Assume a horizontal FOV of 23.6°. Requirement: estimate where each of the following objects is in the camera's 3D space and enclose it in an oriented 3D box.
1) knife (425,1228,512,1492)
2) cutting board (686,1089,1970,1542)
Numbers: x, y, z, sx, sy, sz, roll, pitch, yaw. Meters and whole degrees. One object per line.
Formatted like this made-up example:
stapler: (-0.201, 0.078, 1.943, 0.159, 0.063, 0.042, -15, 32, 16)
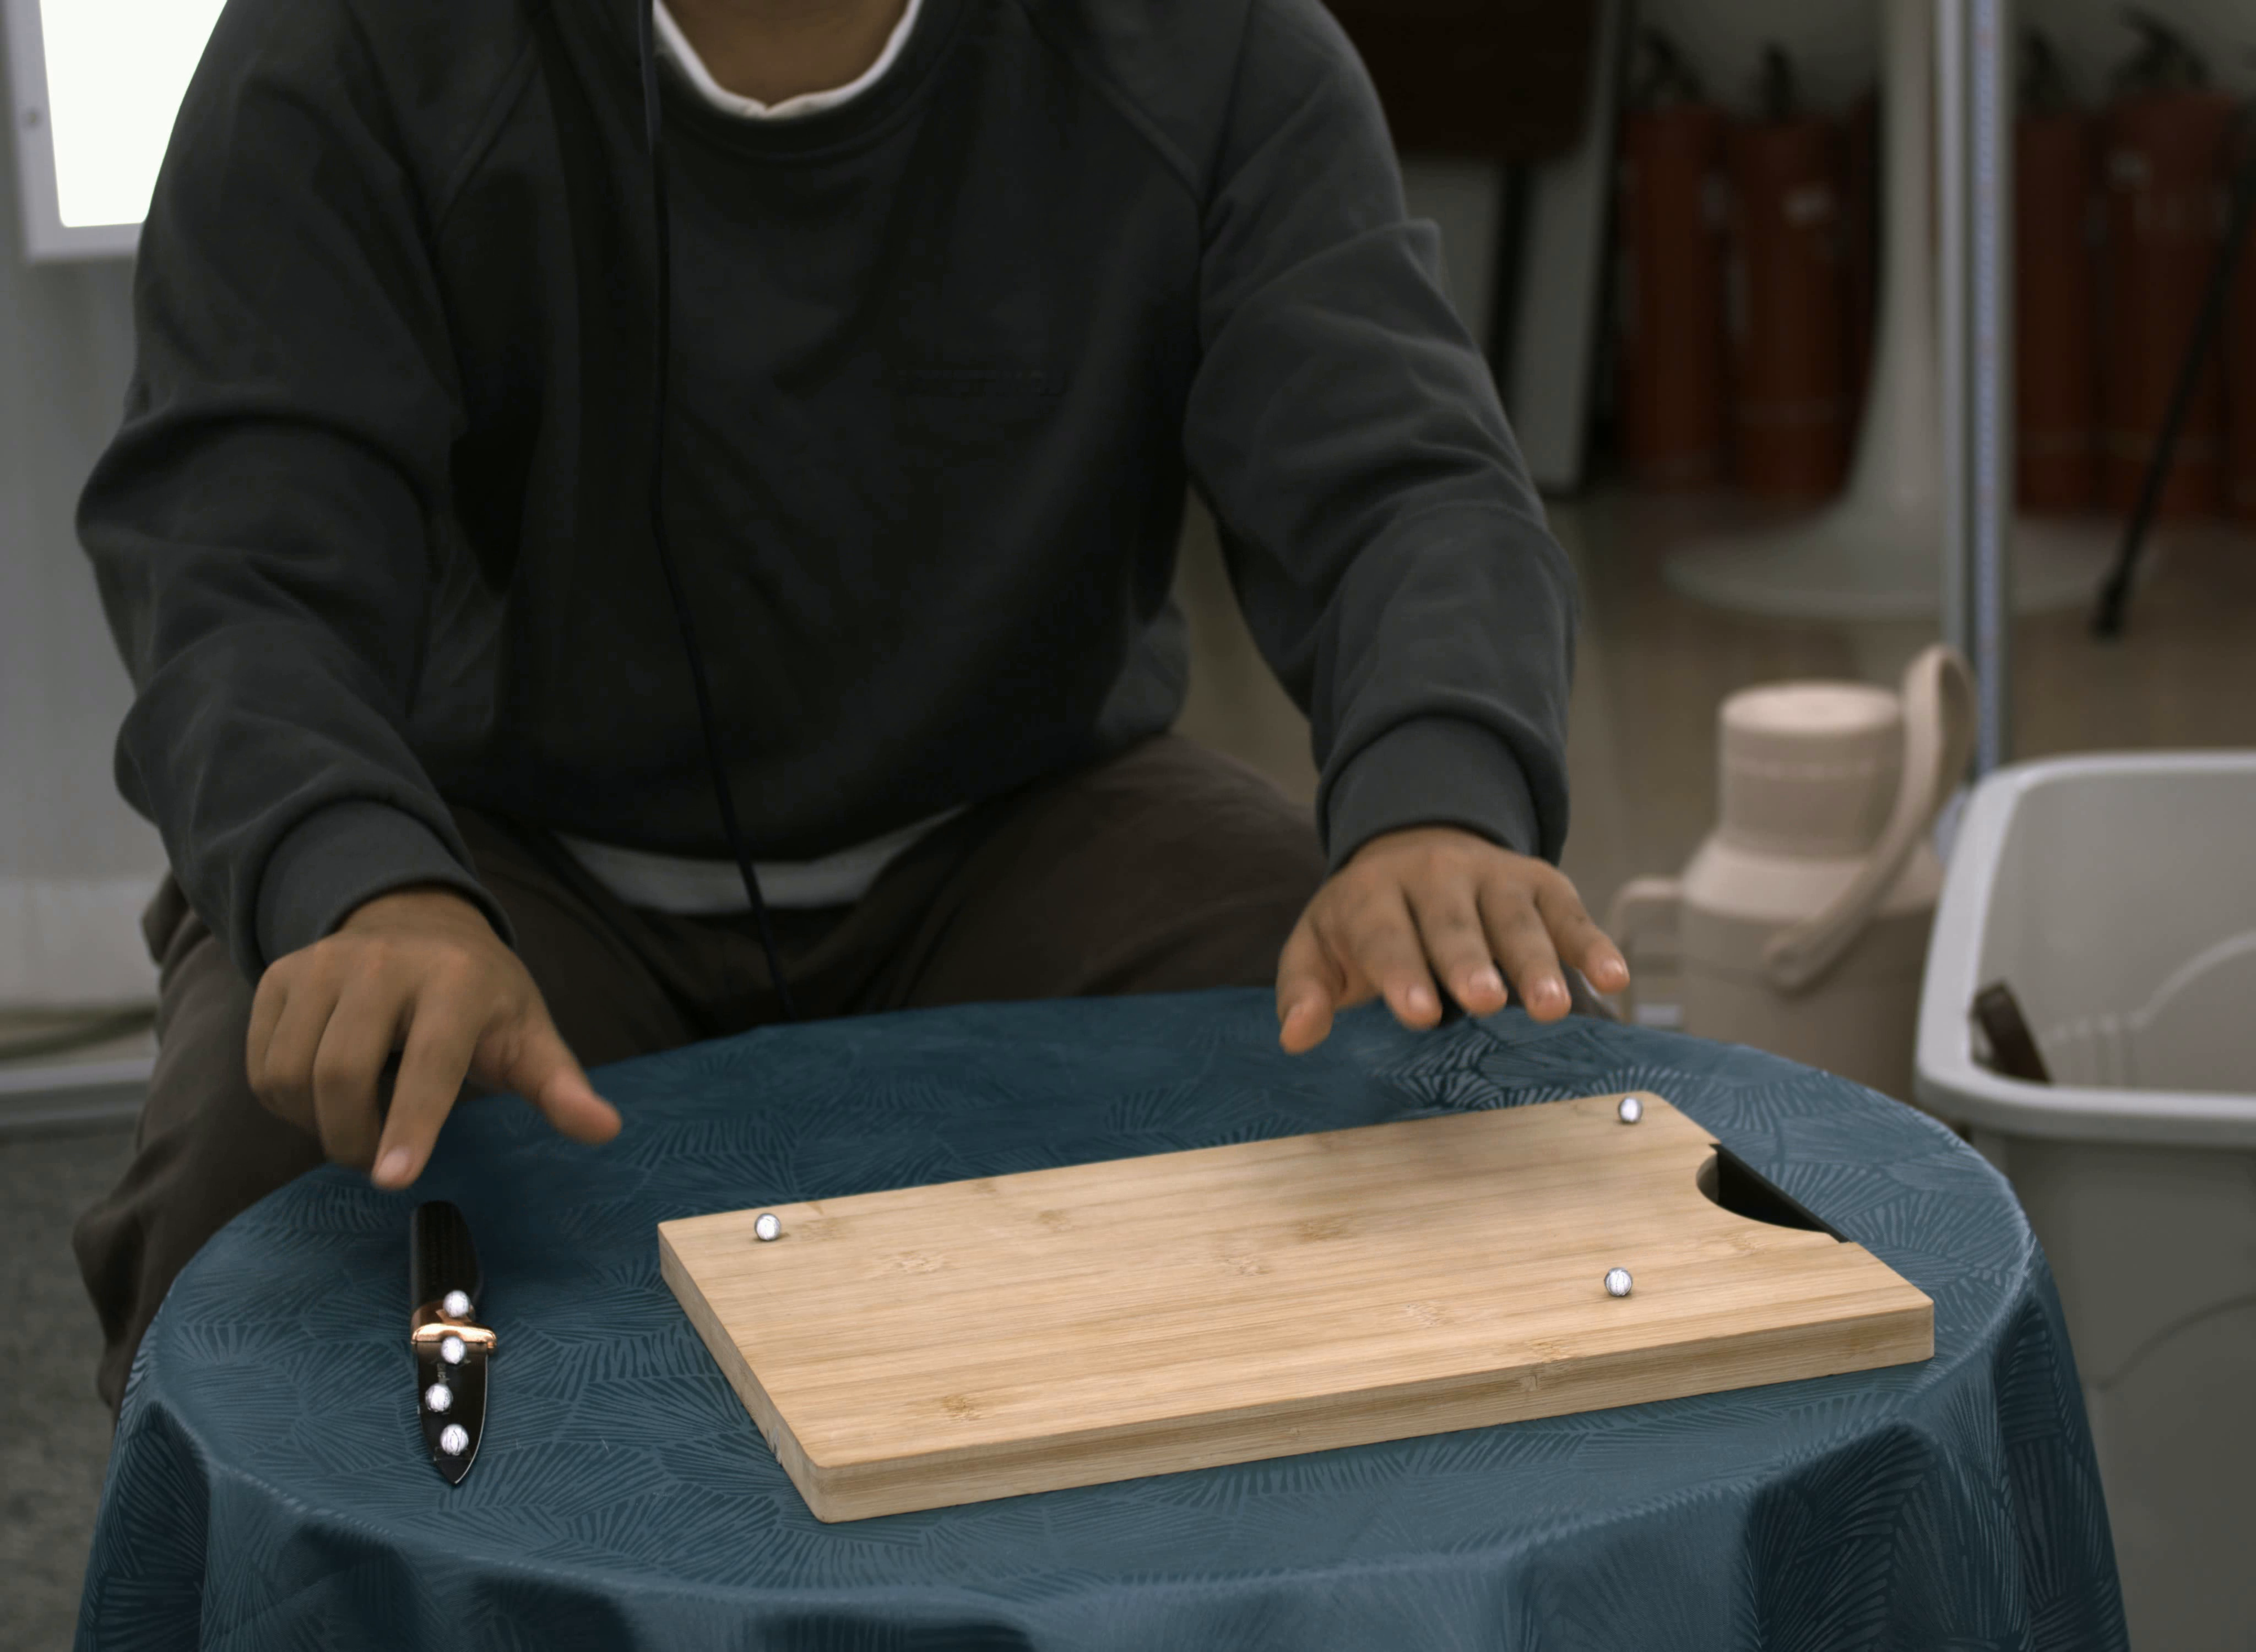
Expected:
knife: (-0.200, 0.162, 1.646, 0.026, 0.017, 0.226, 1, 13, -8)
cutting board: (0.050, 0.142, 1.642, 0.342, 0.024, 0.253, -8, 15, -14)
